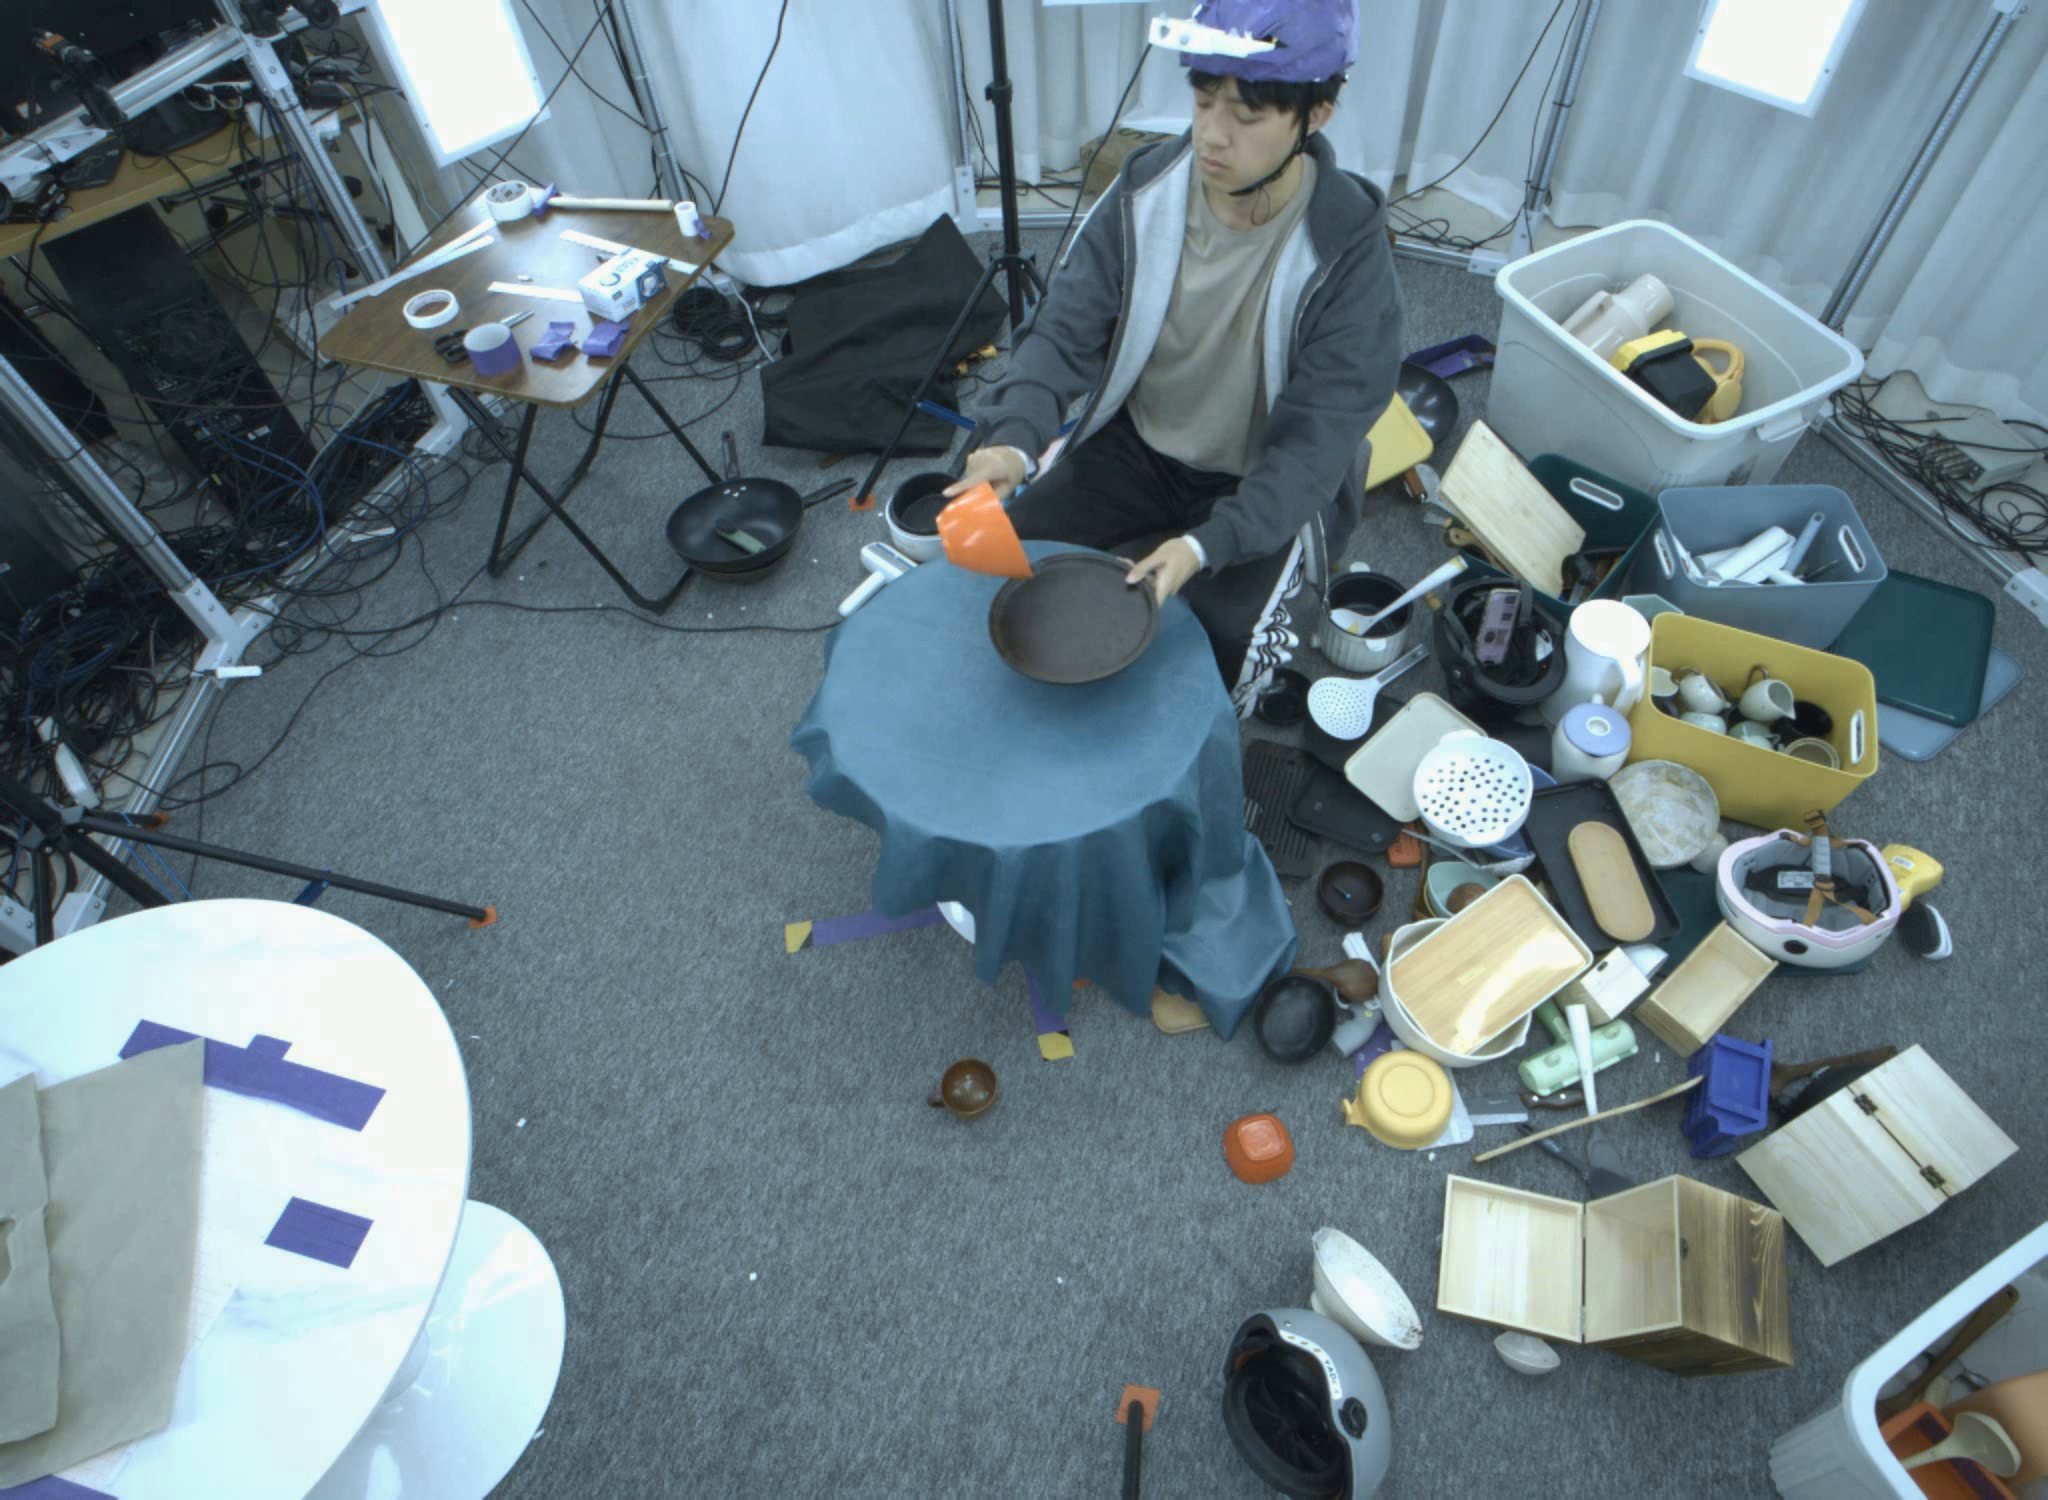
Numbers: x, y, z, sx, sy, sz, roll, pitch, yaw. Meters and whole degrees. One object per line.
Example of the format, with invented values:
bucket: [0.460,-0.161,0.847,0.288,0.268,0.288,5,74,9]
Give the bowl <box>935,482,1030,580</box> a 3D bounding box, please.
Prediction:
bowl: [-0.064,-0.291,1.692,0.104,0.150,0.146,-17,55,1]

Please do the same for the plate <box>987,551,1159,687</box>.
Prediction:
plate: [0.072,-0.194,1.808,0.254,0.029,0.252,-3,55,5]
